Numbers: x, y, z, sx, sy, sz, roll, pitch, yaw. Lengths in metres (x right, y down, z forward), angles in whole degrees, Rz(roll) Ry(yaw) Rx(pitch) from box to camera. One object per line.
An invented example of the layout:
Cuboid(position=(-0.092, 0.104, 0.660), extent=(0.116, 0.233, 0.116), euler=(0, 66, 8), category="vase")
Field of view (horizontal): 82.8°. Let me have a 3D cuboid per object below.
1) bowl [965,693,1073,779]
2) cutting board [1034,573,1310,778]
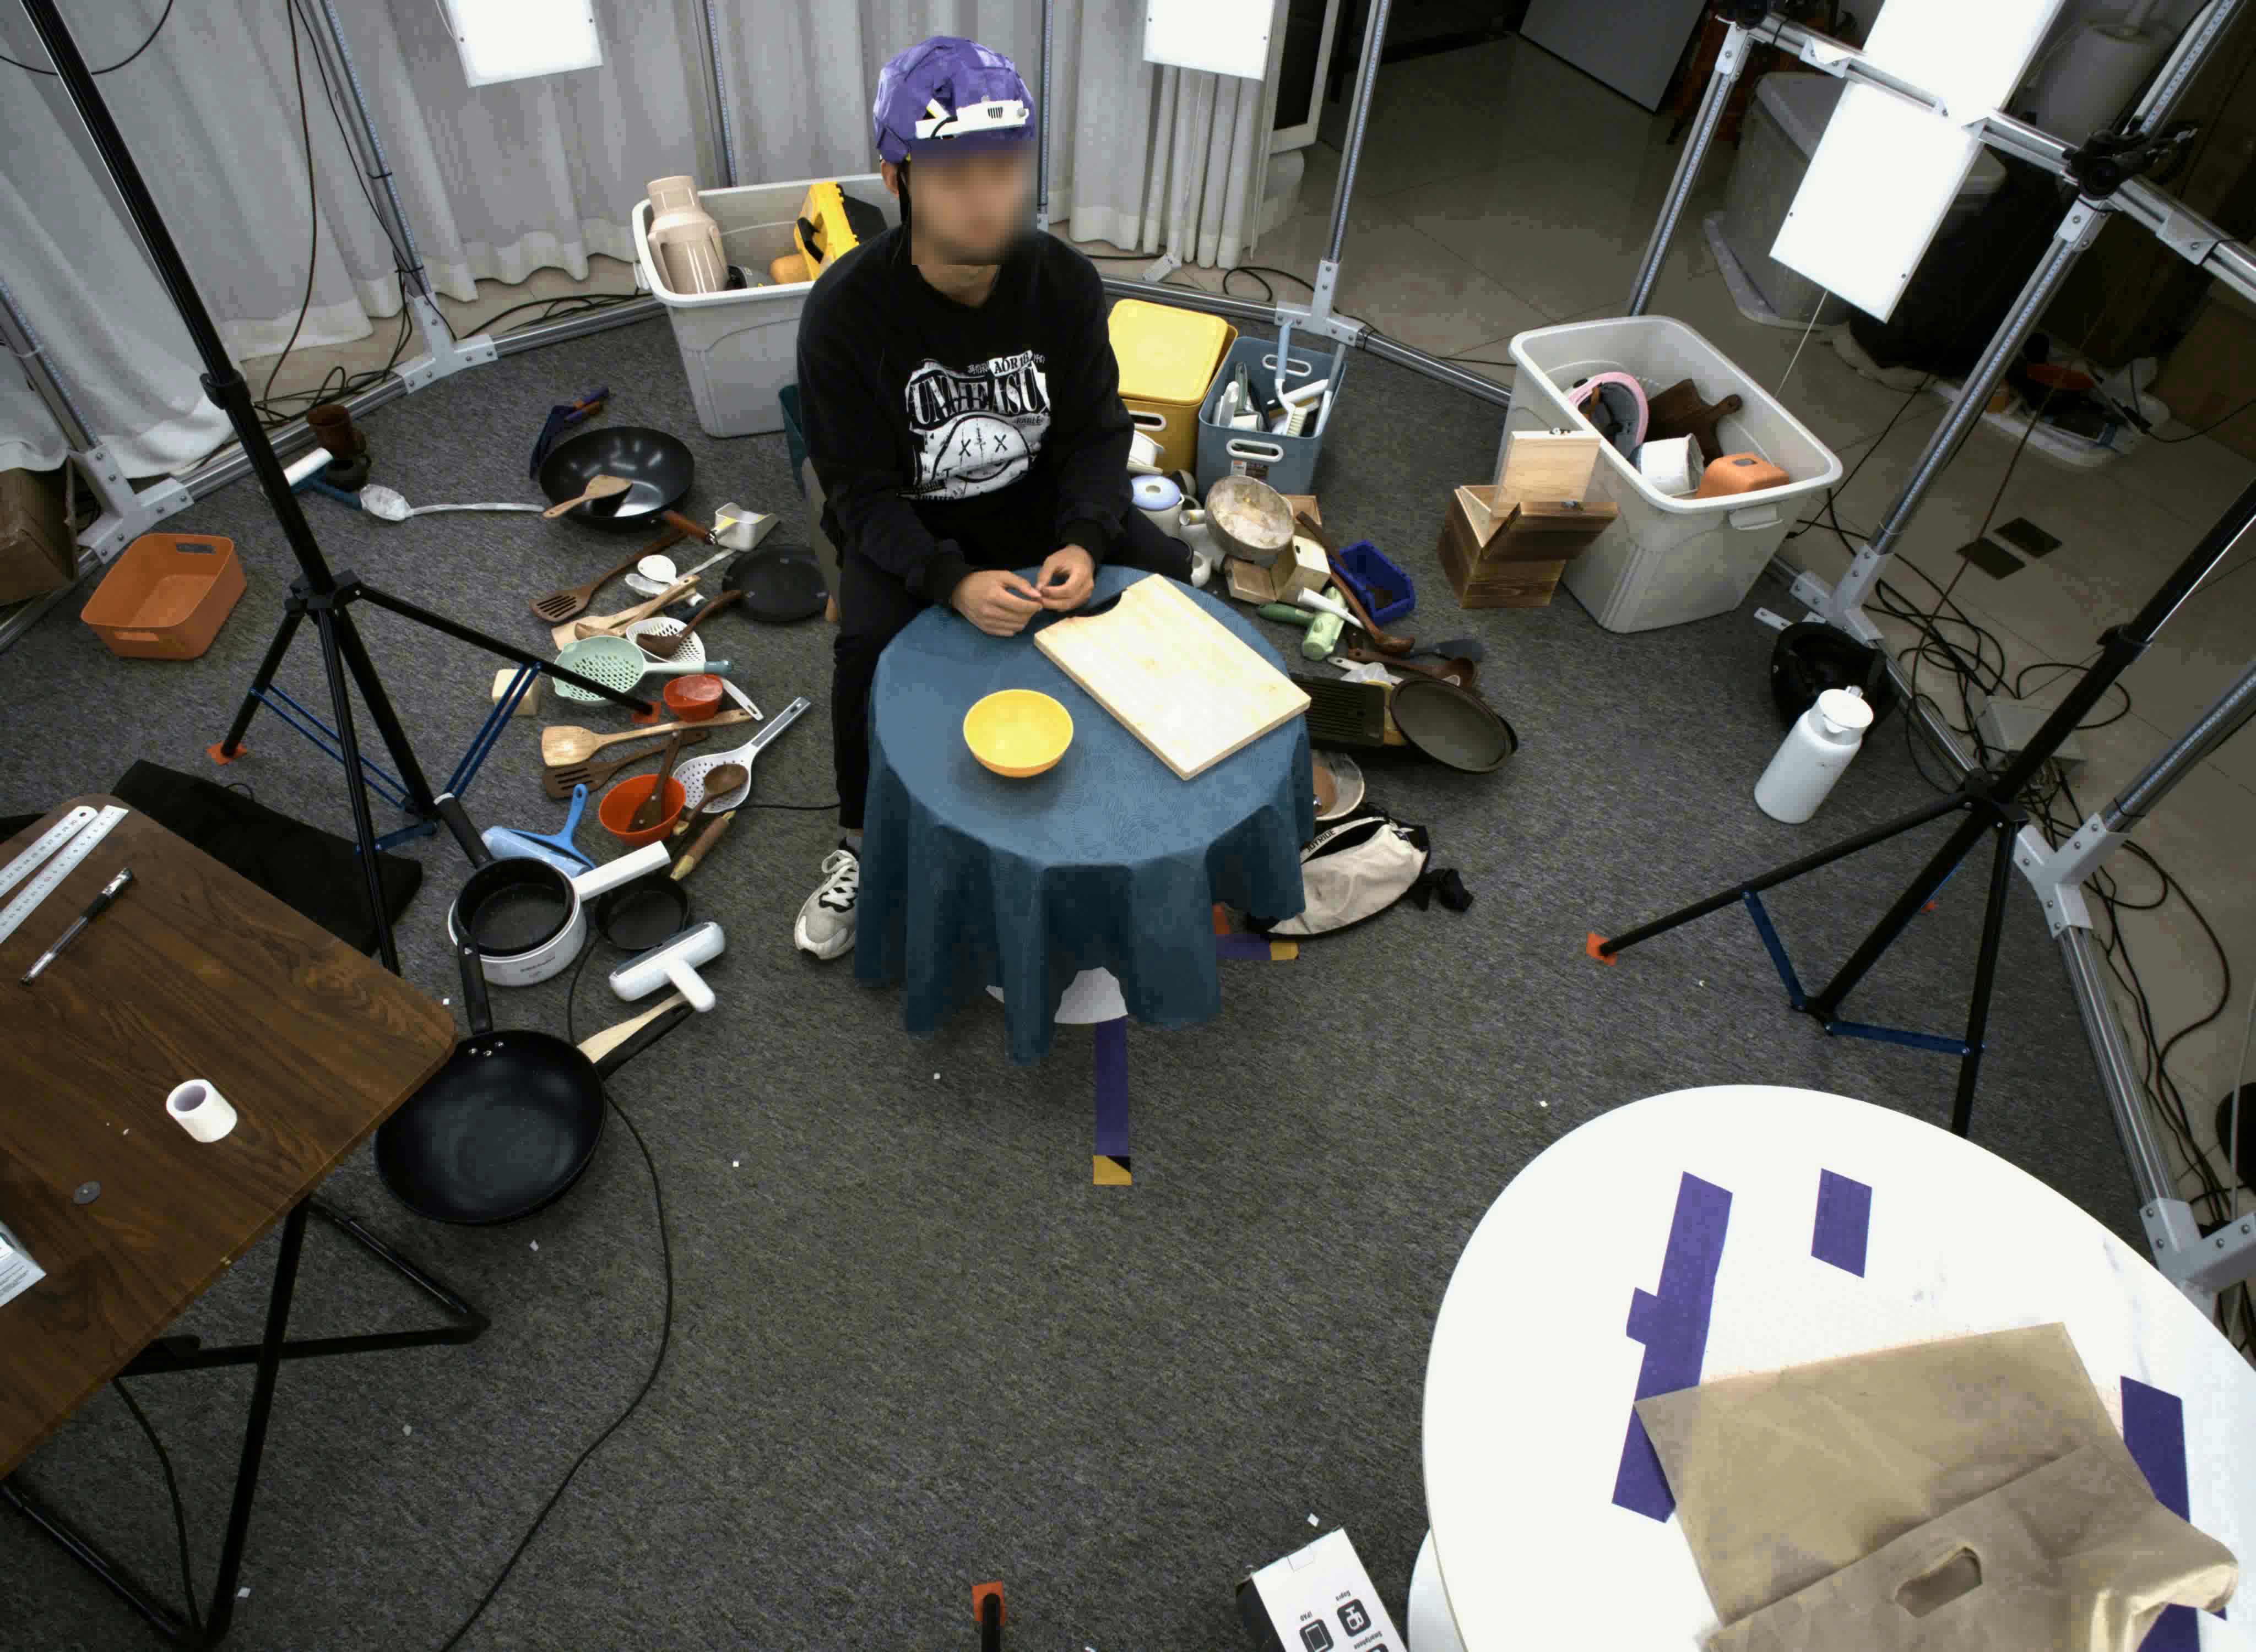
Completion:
Cuboid(position=(-0.148, -0.110, 1.733), extent=(0.145, 0.058, 0.149), euler=(3, 47, -3), category="bowl")
Cuboid(position=(0.060, -0.229, 1.877), extent=(0.252, 0.023, 0.354), euler=(-31, 57, -27), category="cutting board")
